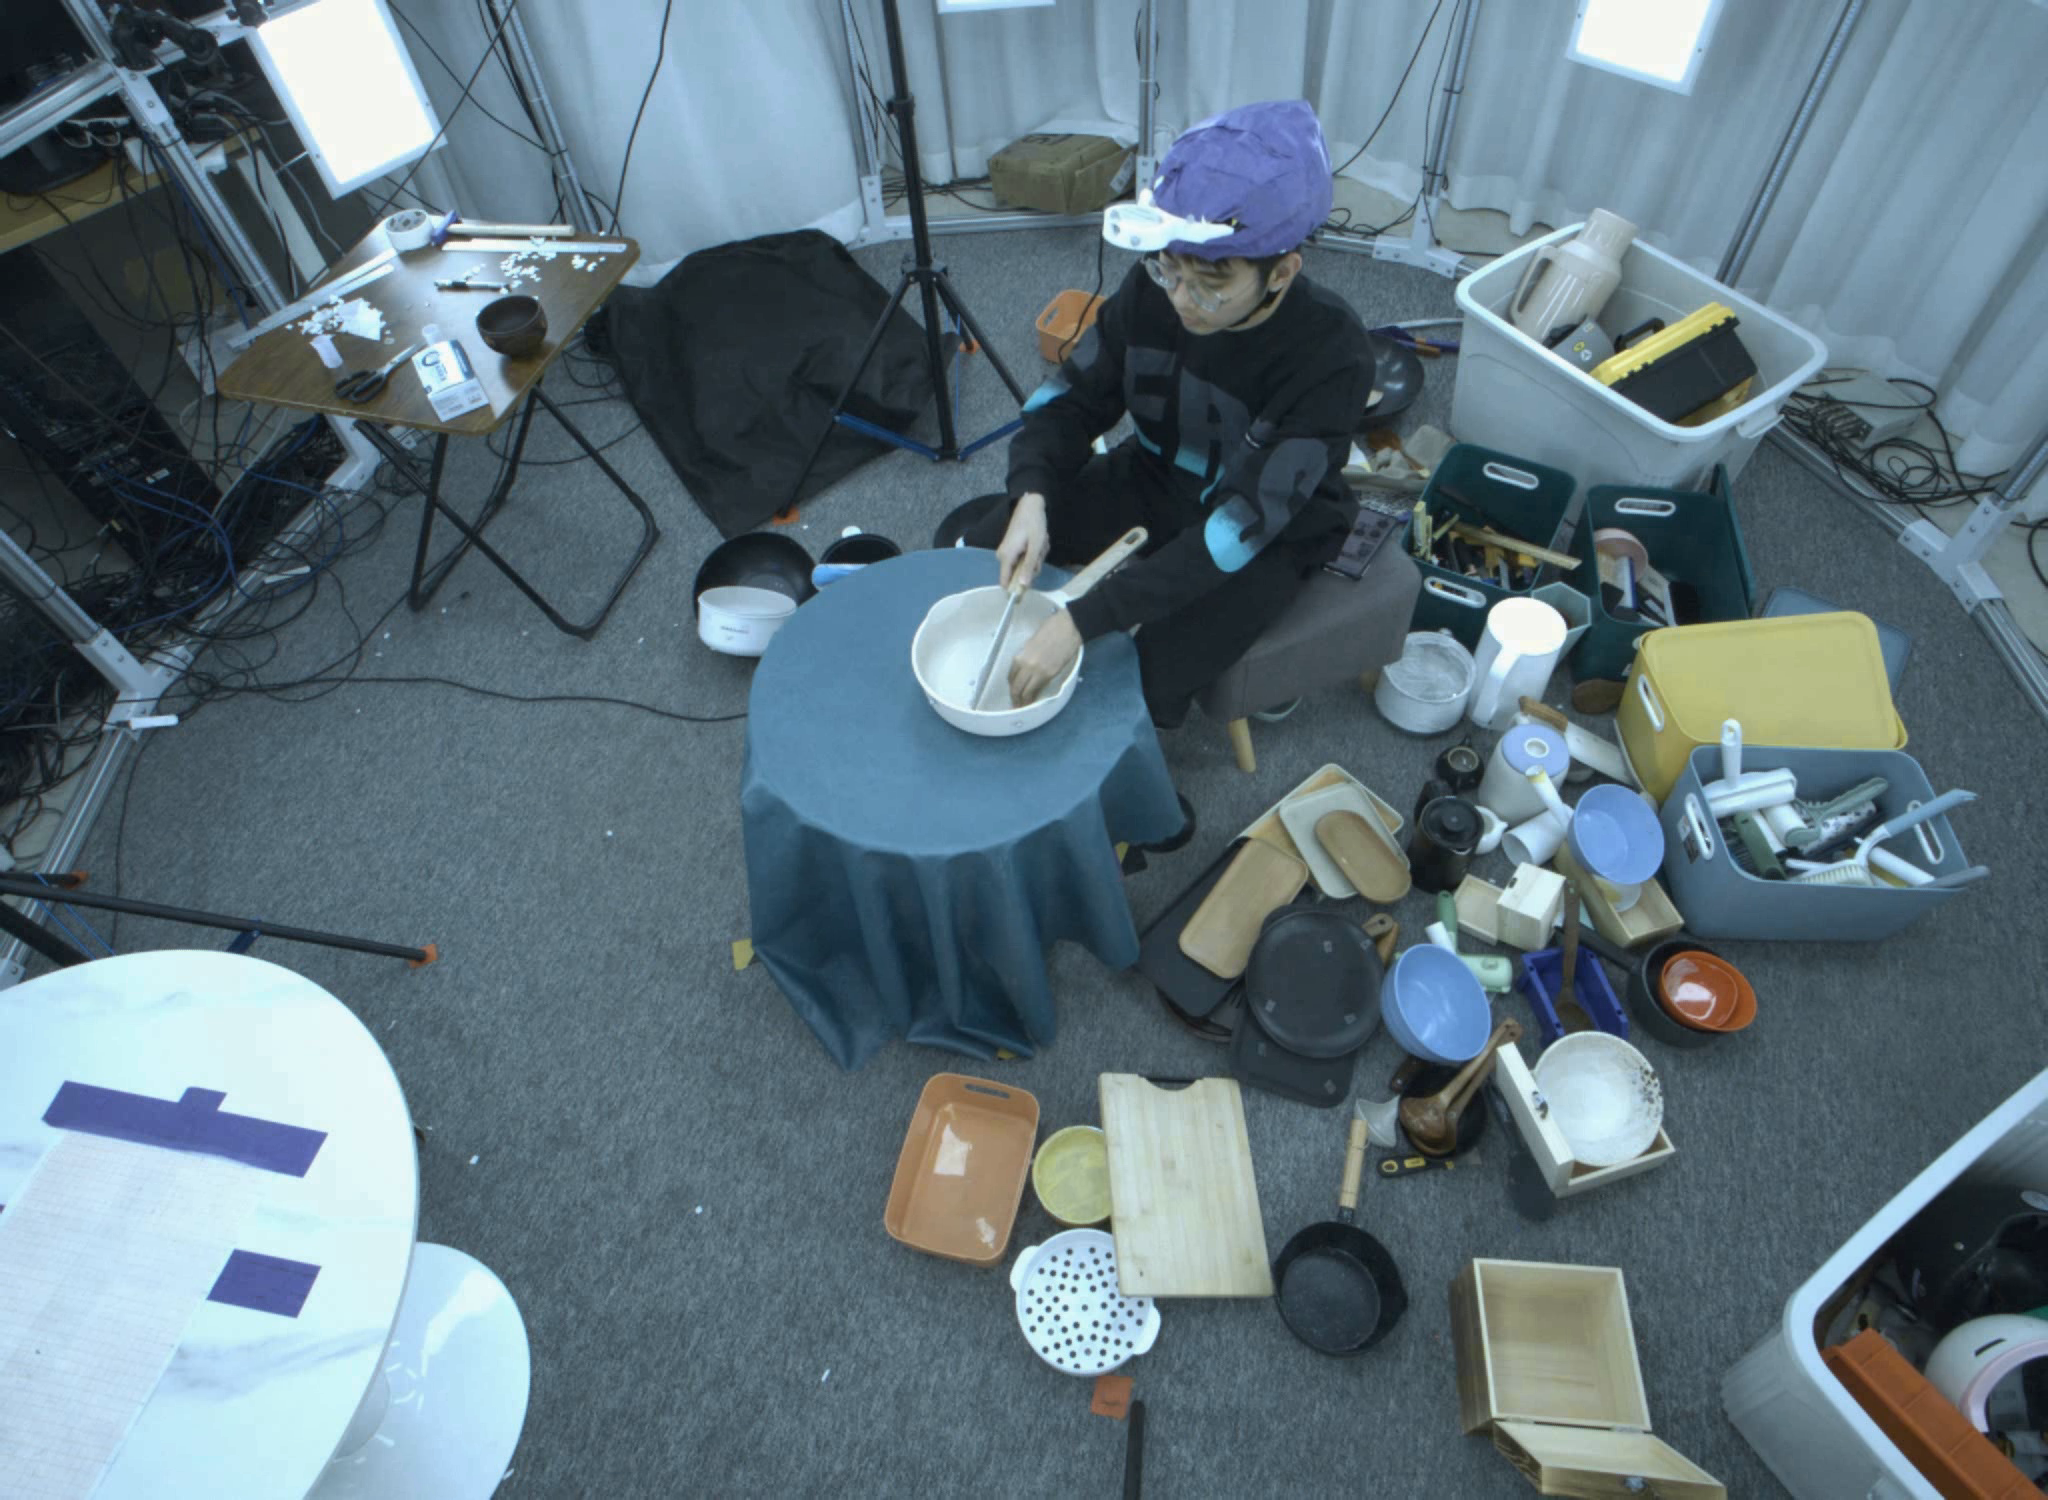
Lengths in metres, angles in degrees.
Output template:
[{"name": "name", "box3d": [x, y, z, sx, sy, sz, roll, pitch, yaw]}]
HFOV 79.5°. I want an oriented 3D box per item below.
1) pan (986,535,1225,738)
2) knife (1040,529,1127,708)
[{"name": "pan", "box3d": [0.143, -0.178, 1.846, 0.438, 0.103, 0.258, -36, 59, -20]}, {"name": "knife", "box3d": [0.083, -0.195, 1.813, 0.021, 0.114, 0.315, 23, 71, 7]}]
